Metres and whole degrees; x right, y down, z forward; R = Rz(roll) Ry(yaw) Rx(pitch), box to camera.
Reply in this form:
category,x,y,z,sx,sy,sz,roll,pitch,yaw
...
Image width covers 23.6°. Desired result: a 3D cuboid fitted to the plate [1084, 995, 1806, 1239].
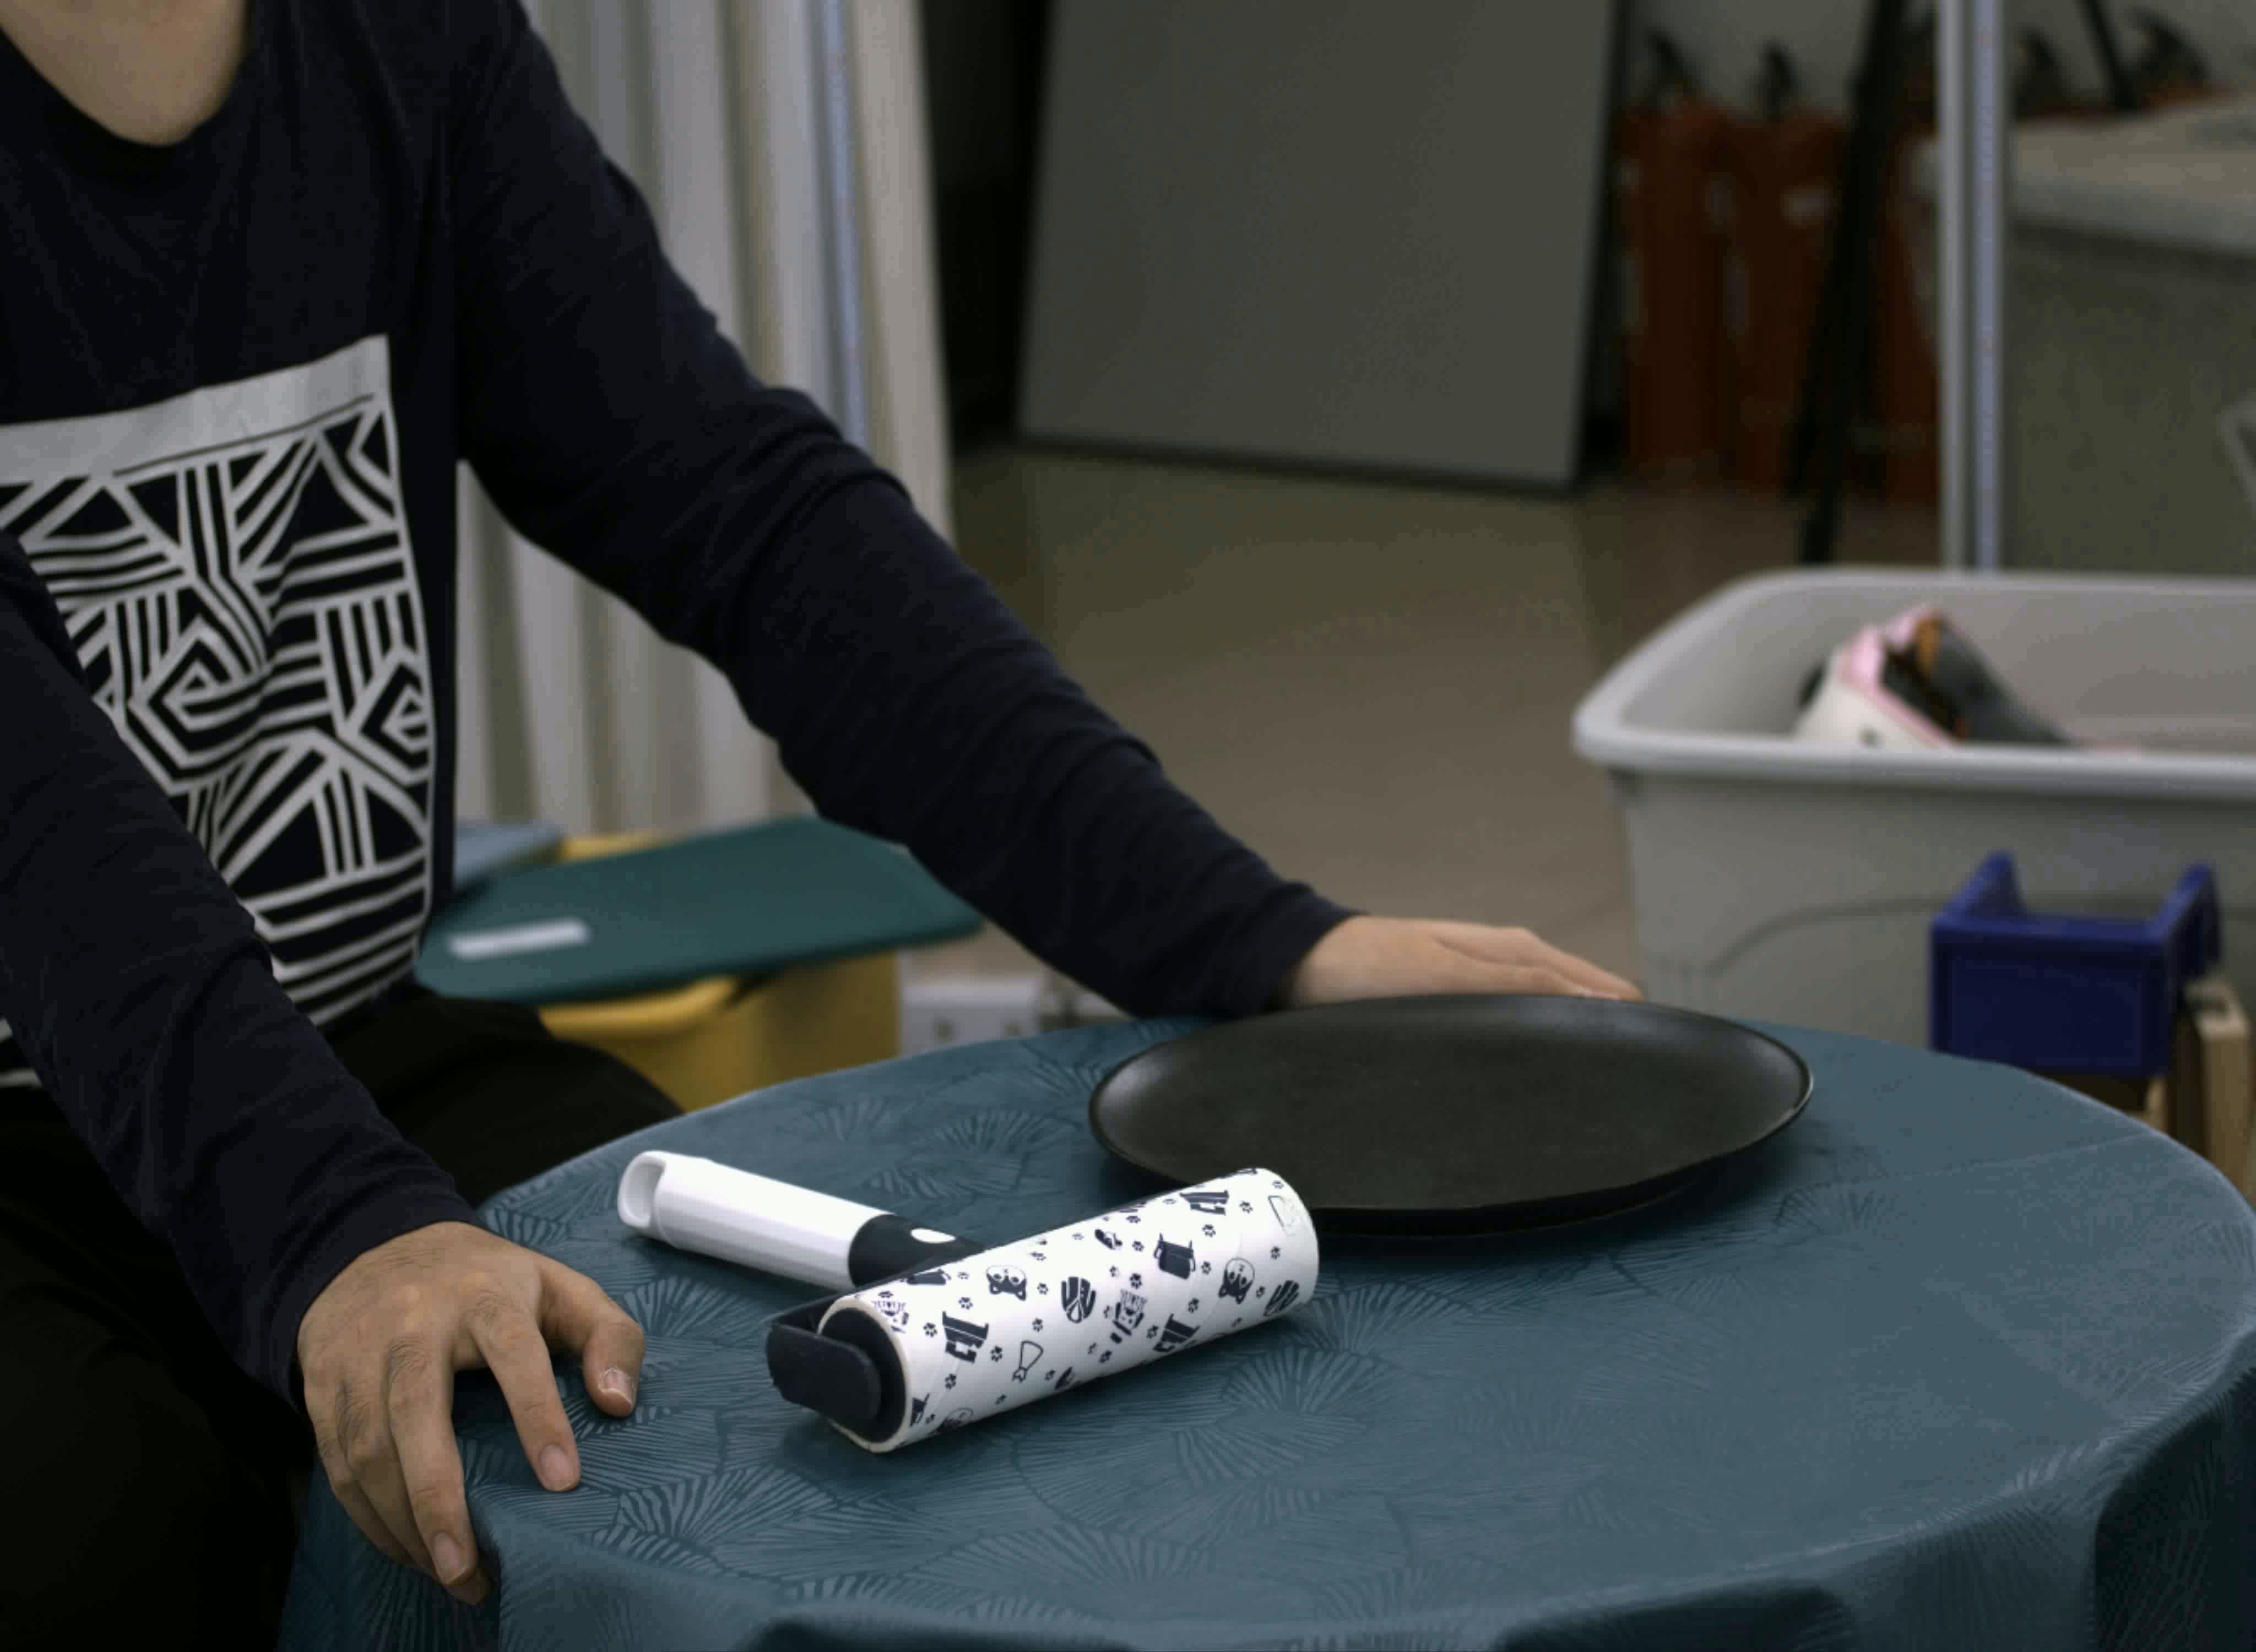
category,x,y,z,sx,sy,sz,roll,pitch,yaw
plate,0.105,0.099,1.790,0.241,0.024,0.245,-4,13,0

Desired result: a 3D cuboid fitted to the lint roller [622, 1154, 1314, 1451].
category,x,y,z,sx,sy,sz,roll,pitch,yaw
lint roller,-0.083,0.132,1.670,0.172,0.051,0.249,-16,15,-38
